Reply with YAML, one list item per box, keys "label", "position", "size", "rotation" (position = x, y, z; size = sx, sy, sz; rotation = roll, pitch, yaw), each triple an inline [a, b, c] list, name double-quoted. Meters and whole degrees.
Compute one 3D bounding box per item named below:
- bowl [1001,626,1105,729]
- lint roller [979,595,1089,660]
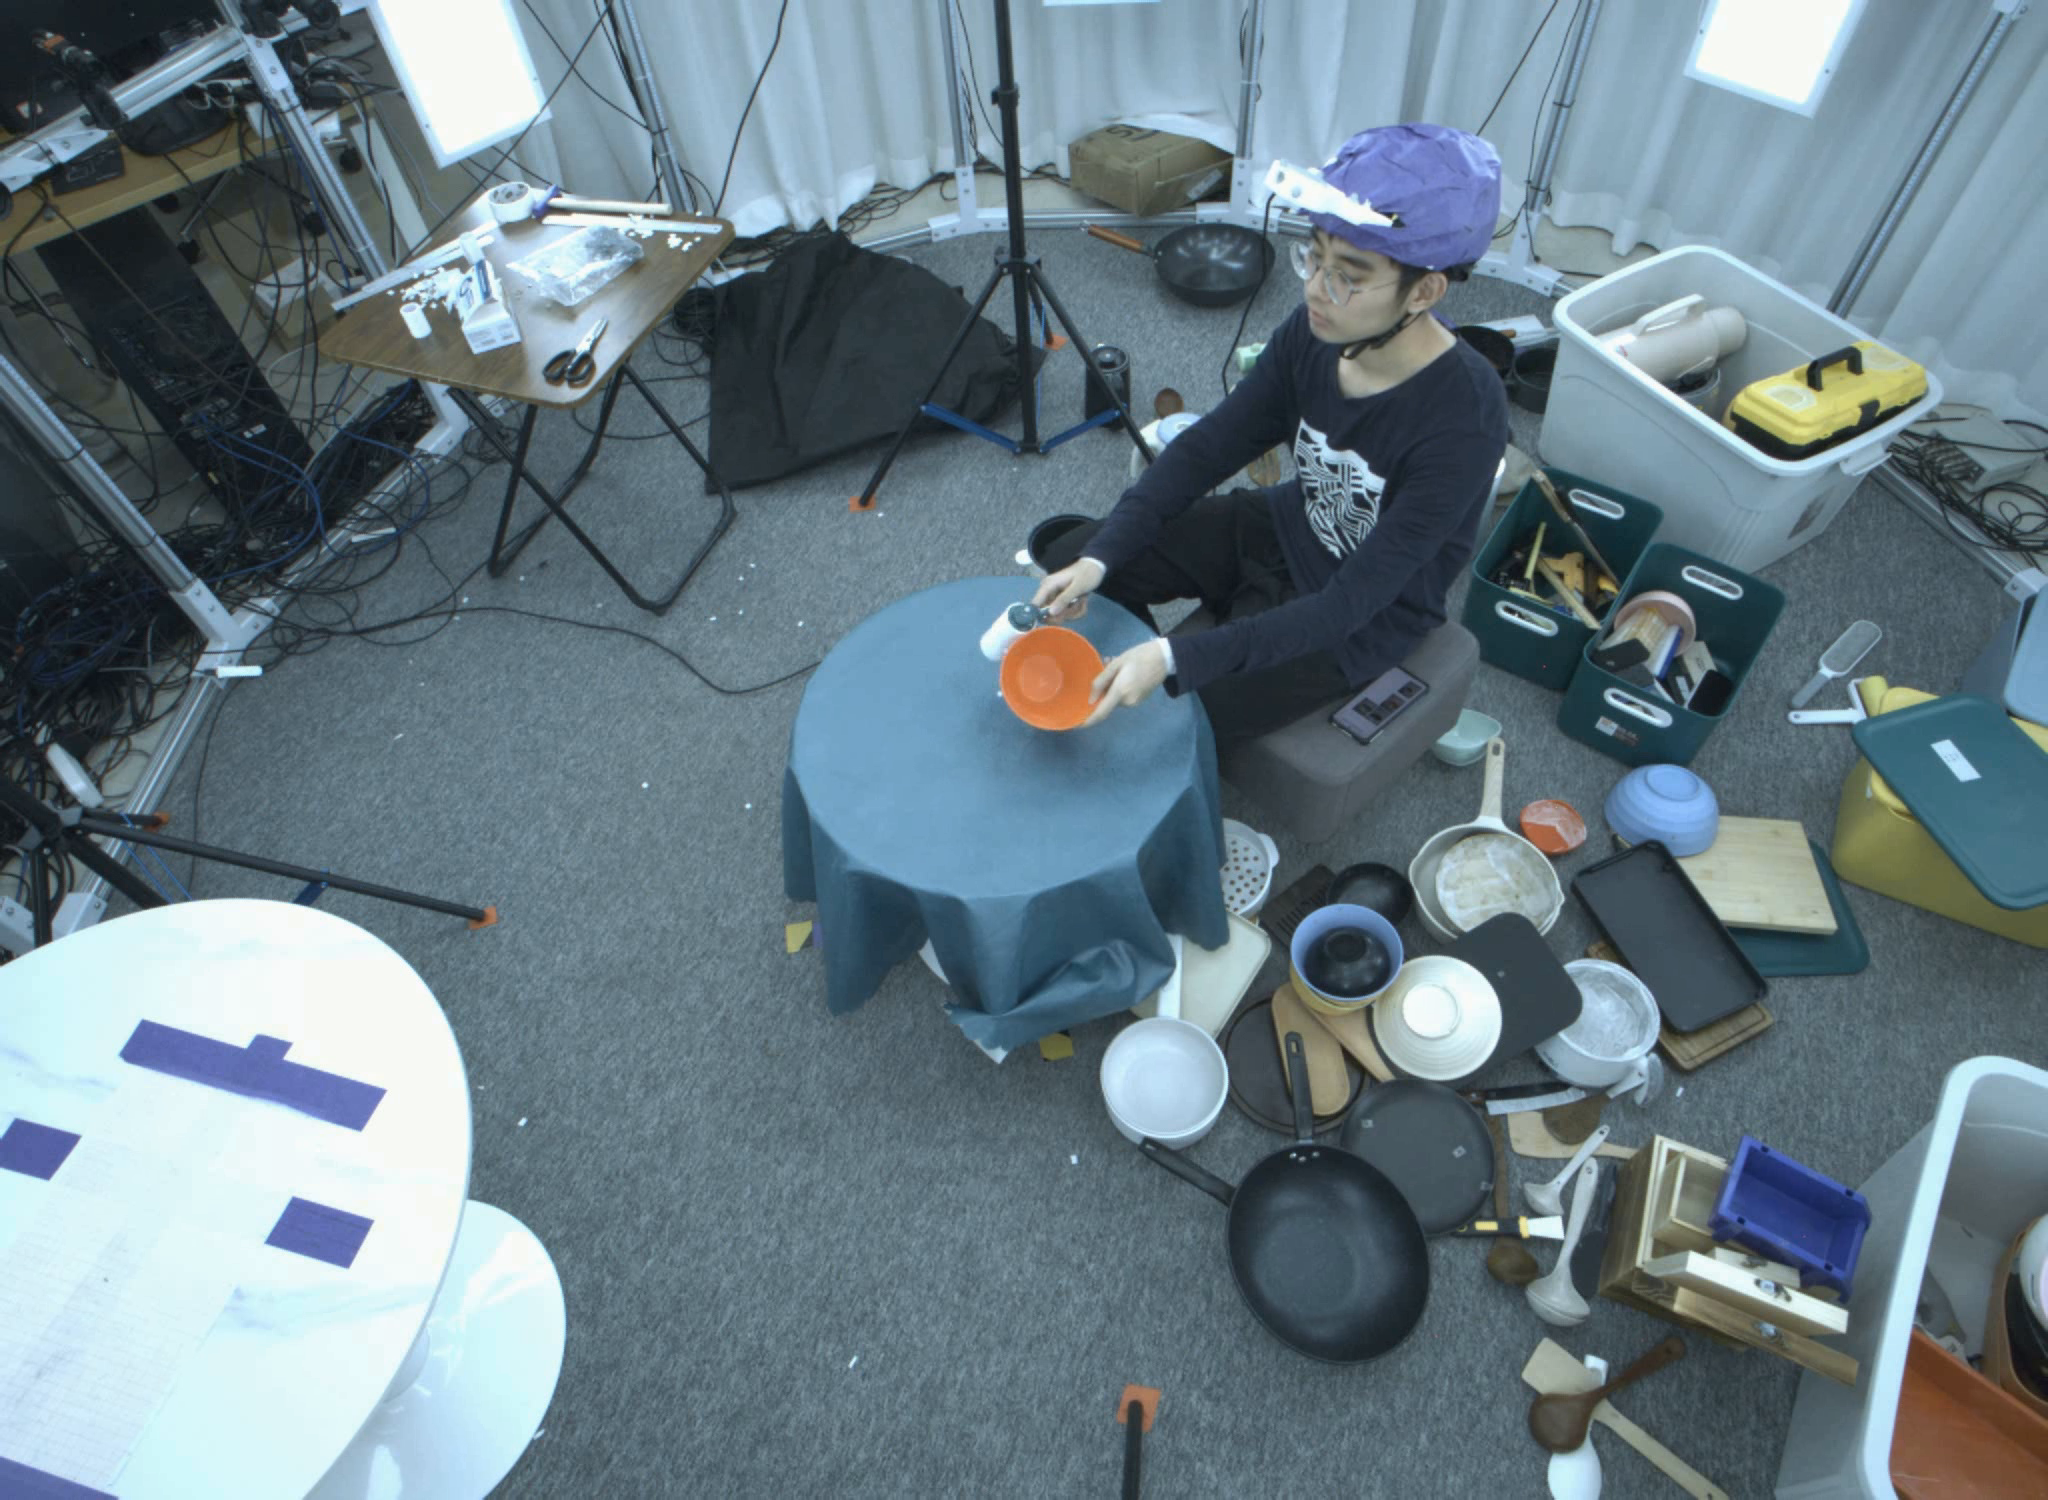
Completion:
- label: "bowl"
  position: [0.032, -0.098, 1.750]
  size: [0.149, 0.104, 0.148]
  rotation: [1, 86, -13]
- label: "lint roller"
  position: [0.022, -0.202, 1.798]
  size: [0.182, 0.133, 0.048]
  rotation: [-36, 90, -32]
